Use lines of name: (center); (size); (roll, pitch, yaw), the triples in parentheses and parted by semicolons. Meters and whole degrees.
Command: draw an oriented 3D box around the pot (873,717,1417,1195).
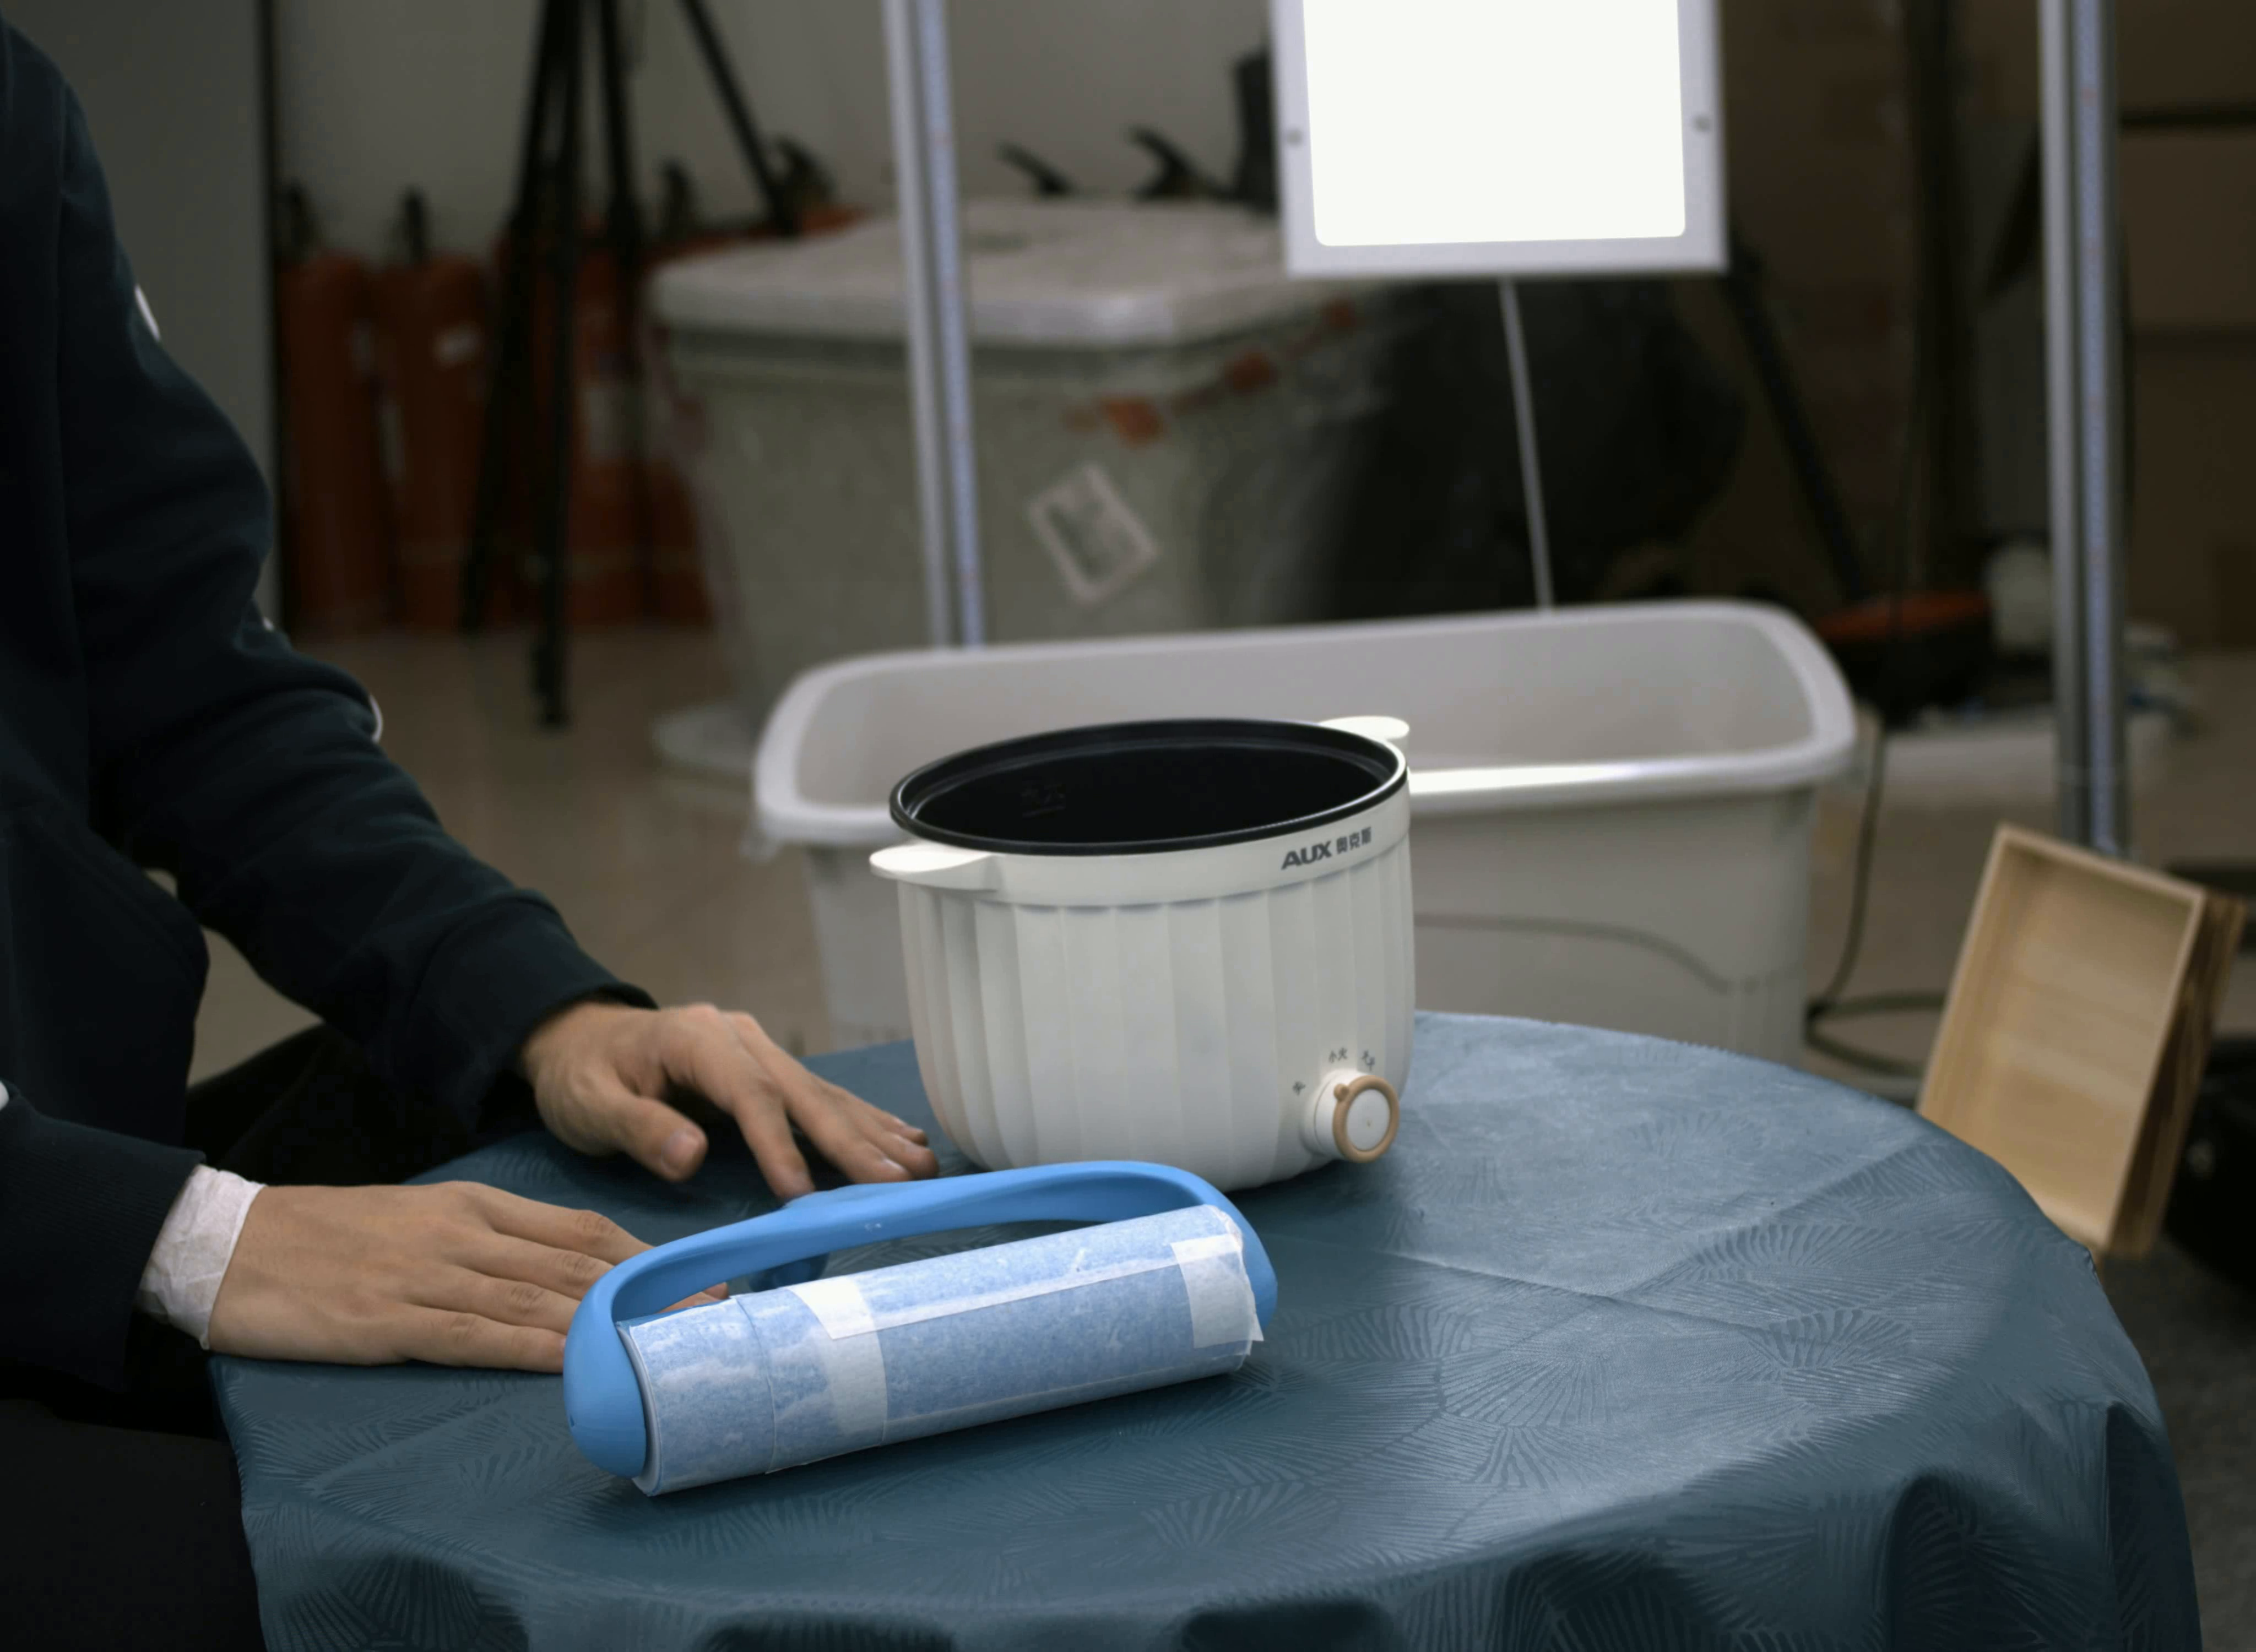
pot: (0.017, 0.048, 1.916); (0.234, 0.143, 0.195); (-18, 16, -39)

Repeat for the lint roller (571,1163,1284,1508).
lint roller: (-0.083, 0.146, 1.728); (0.225, 0.068, 0.183); (-13, 18, -21)
